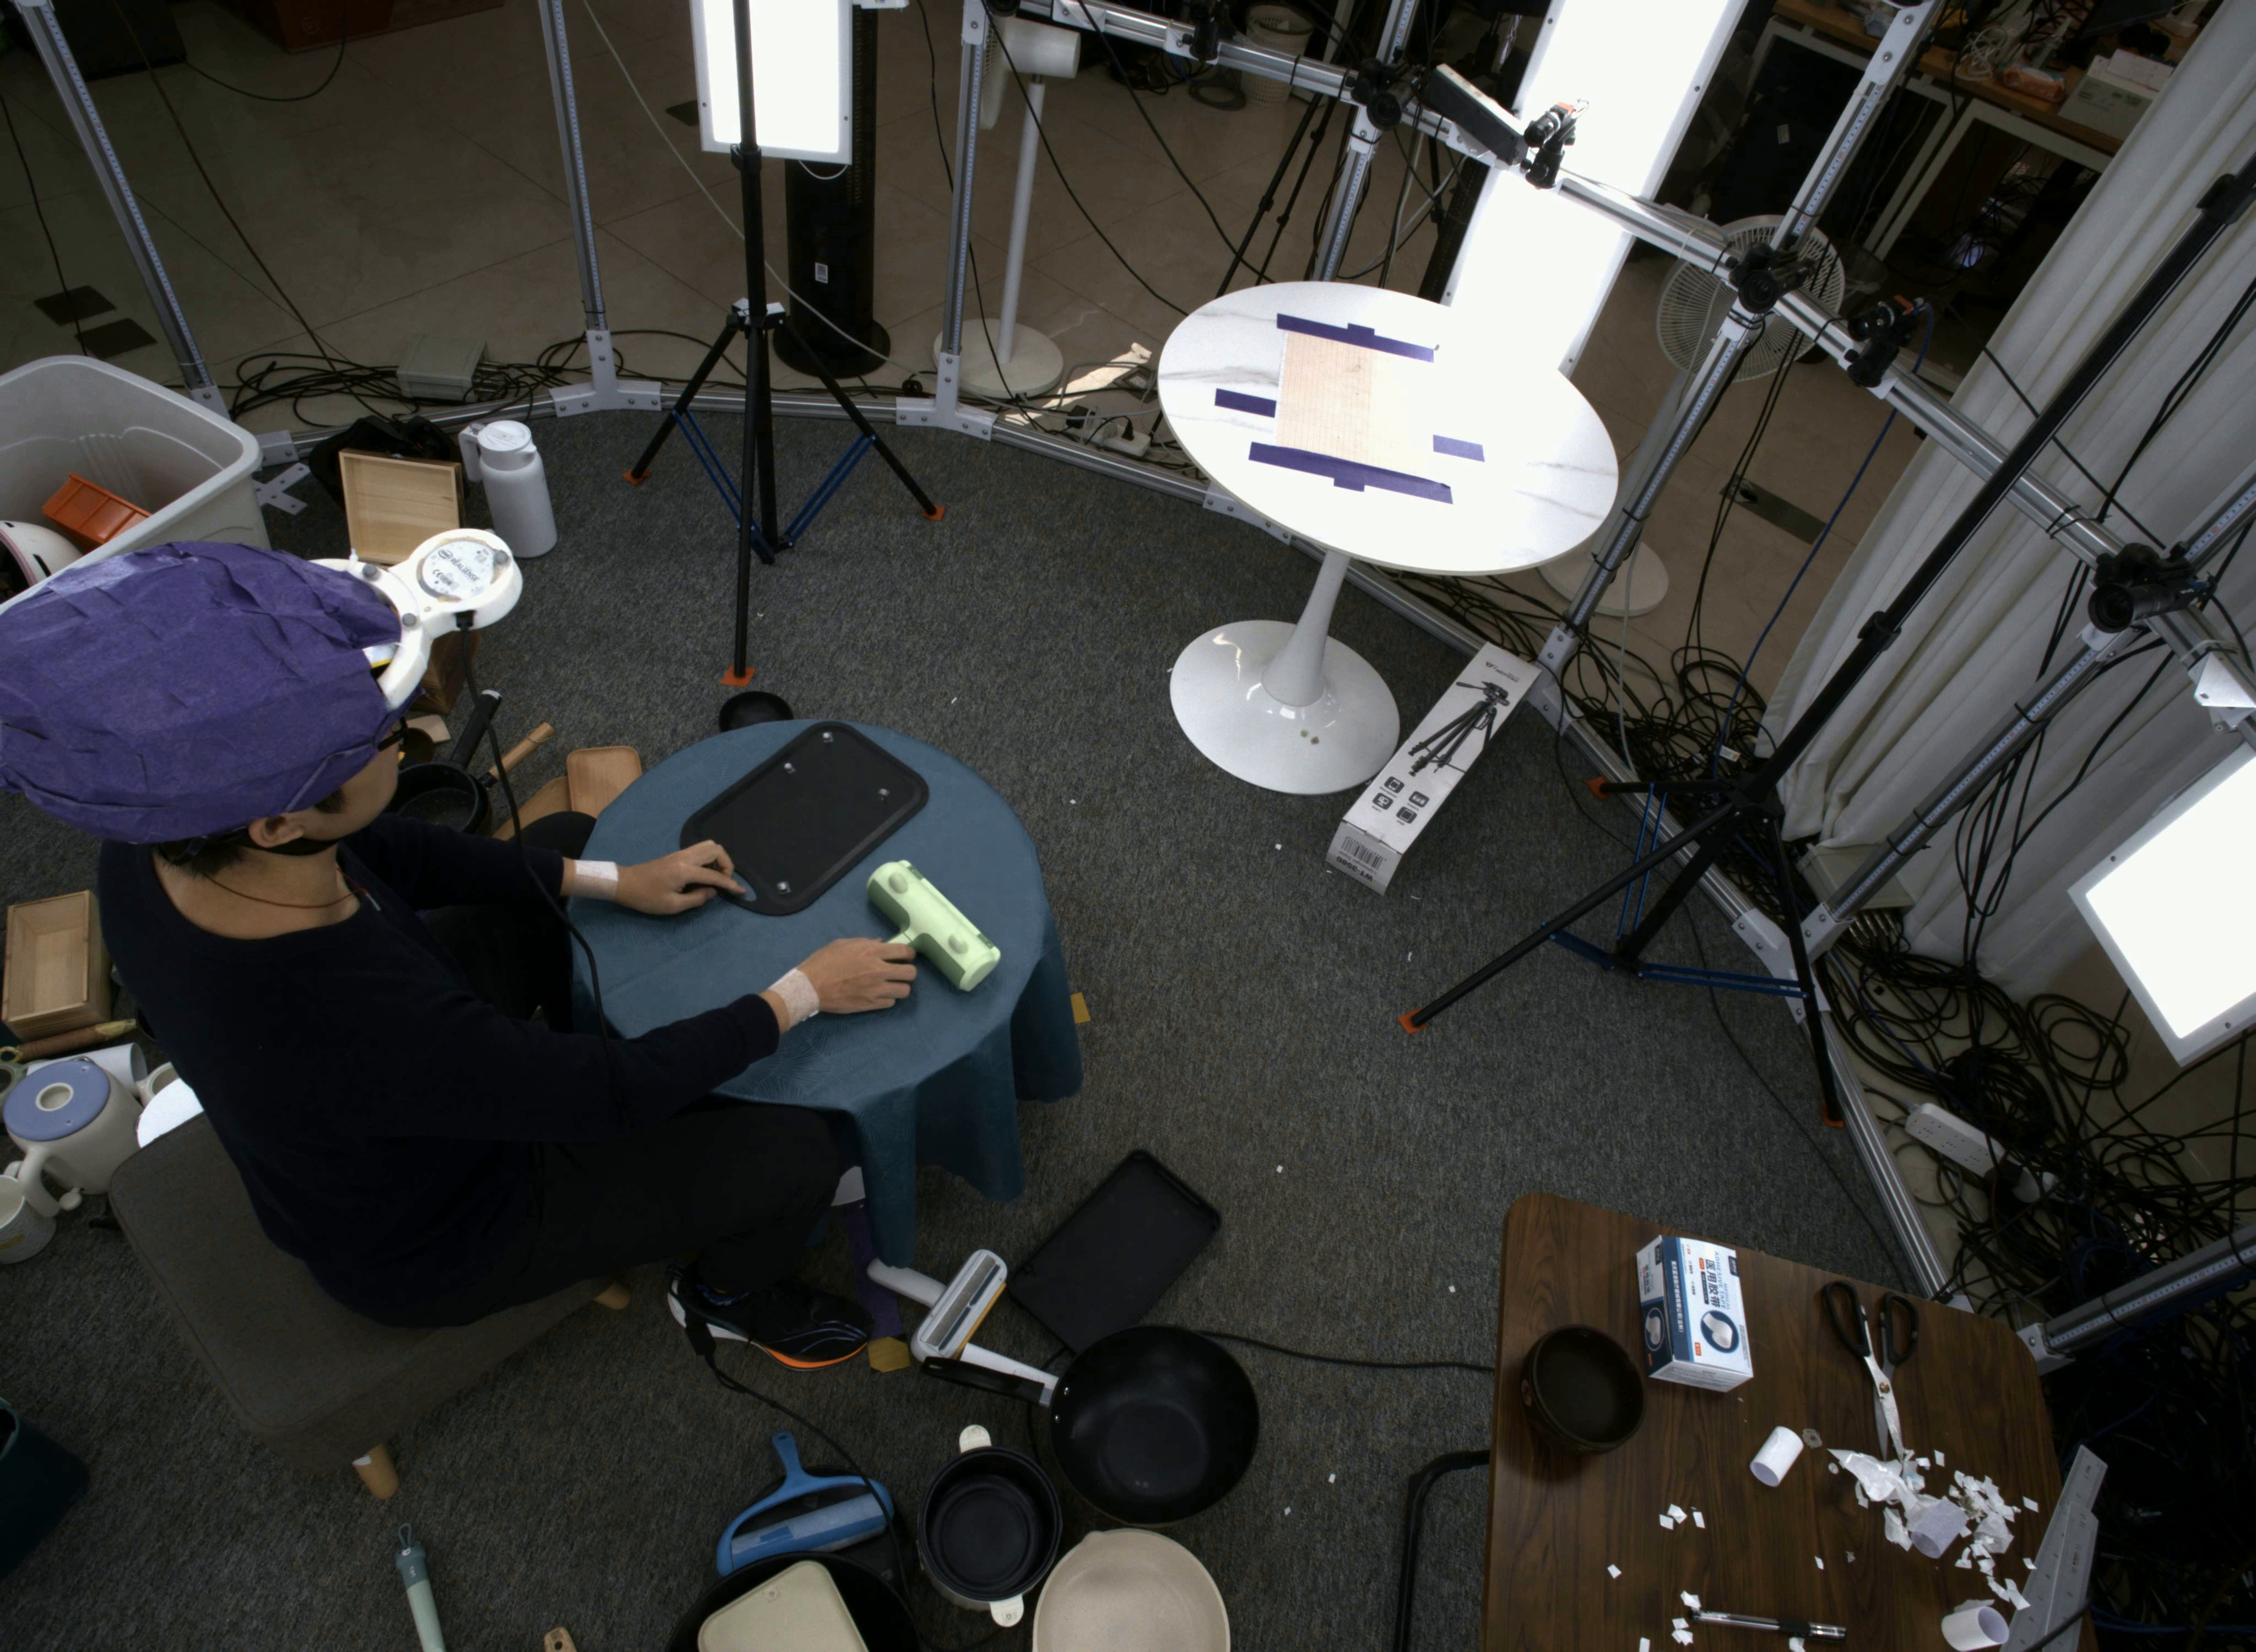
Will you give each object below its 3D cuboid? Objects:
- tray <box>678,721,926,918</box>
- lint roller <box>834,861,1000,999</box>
[{"bbox_3d":[-0.433,-0.013,1.717,0.207,0.010,0.325,35,53,12],"label":"tray"},{"bbox_3d":[-0.284,0.140,1.590,0.194,0.084,0.184,41,48,18],"label":"lint roller"}]
